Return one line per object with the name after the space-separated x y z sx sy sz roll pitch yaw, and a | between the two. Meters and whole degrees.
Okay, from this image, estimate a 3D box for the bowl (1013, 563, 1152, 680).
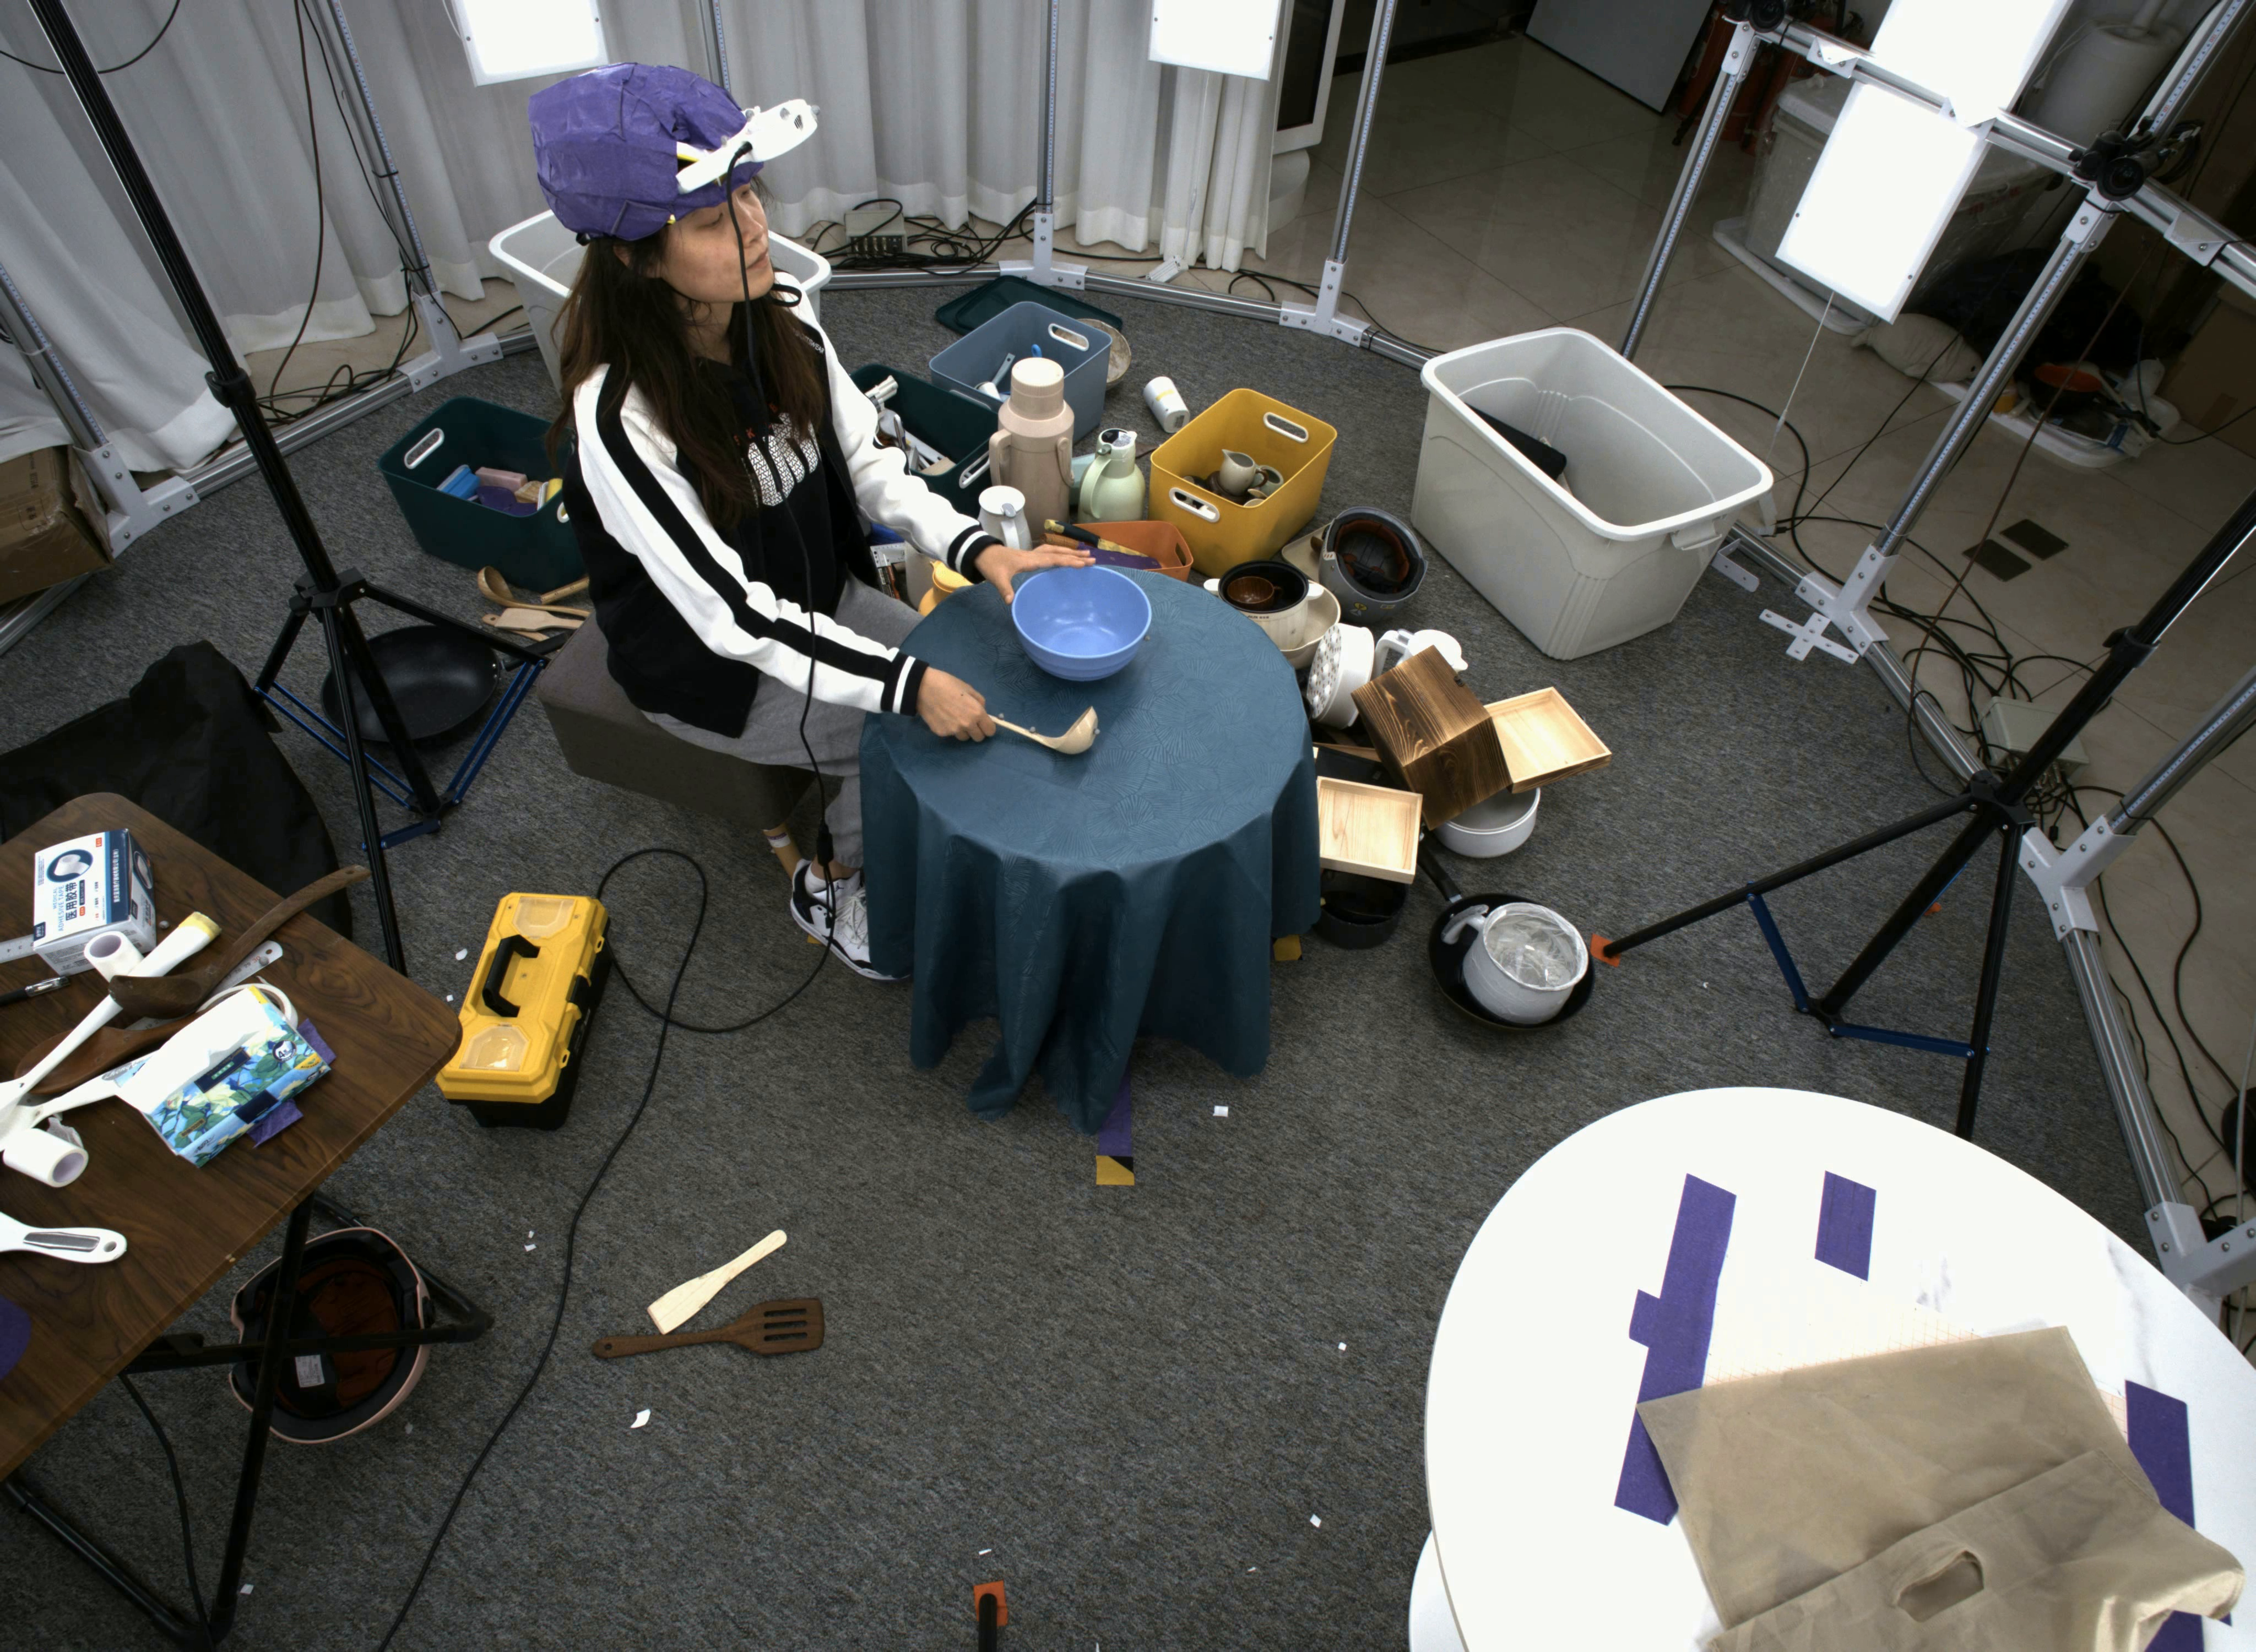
-0.068 -0.277 1.843 0.196 0.093 0.201 4 49 -5 | bowl

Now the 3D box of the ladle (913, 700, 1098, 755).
-0.166 -0.160 1.740 0.255 0.071 0.073 17 33 4 | ladle
